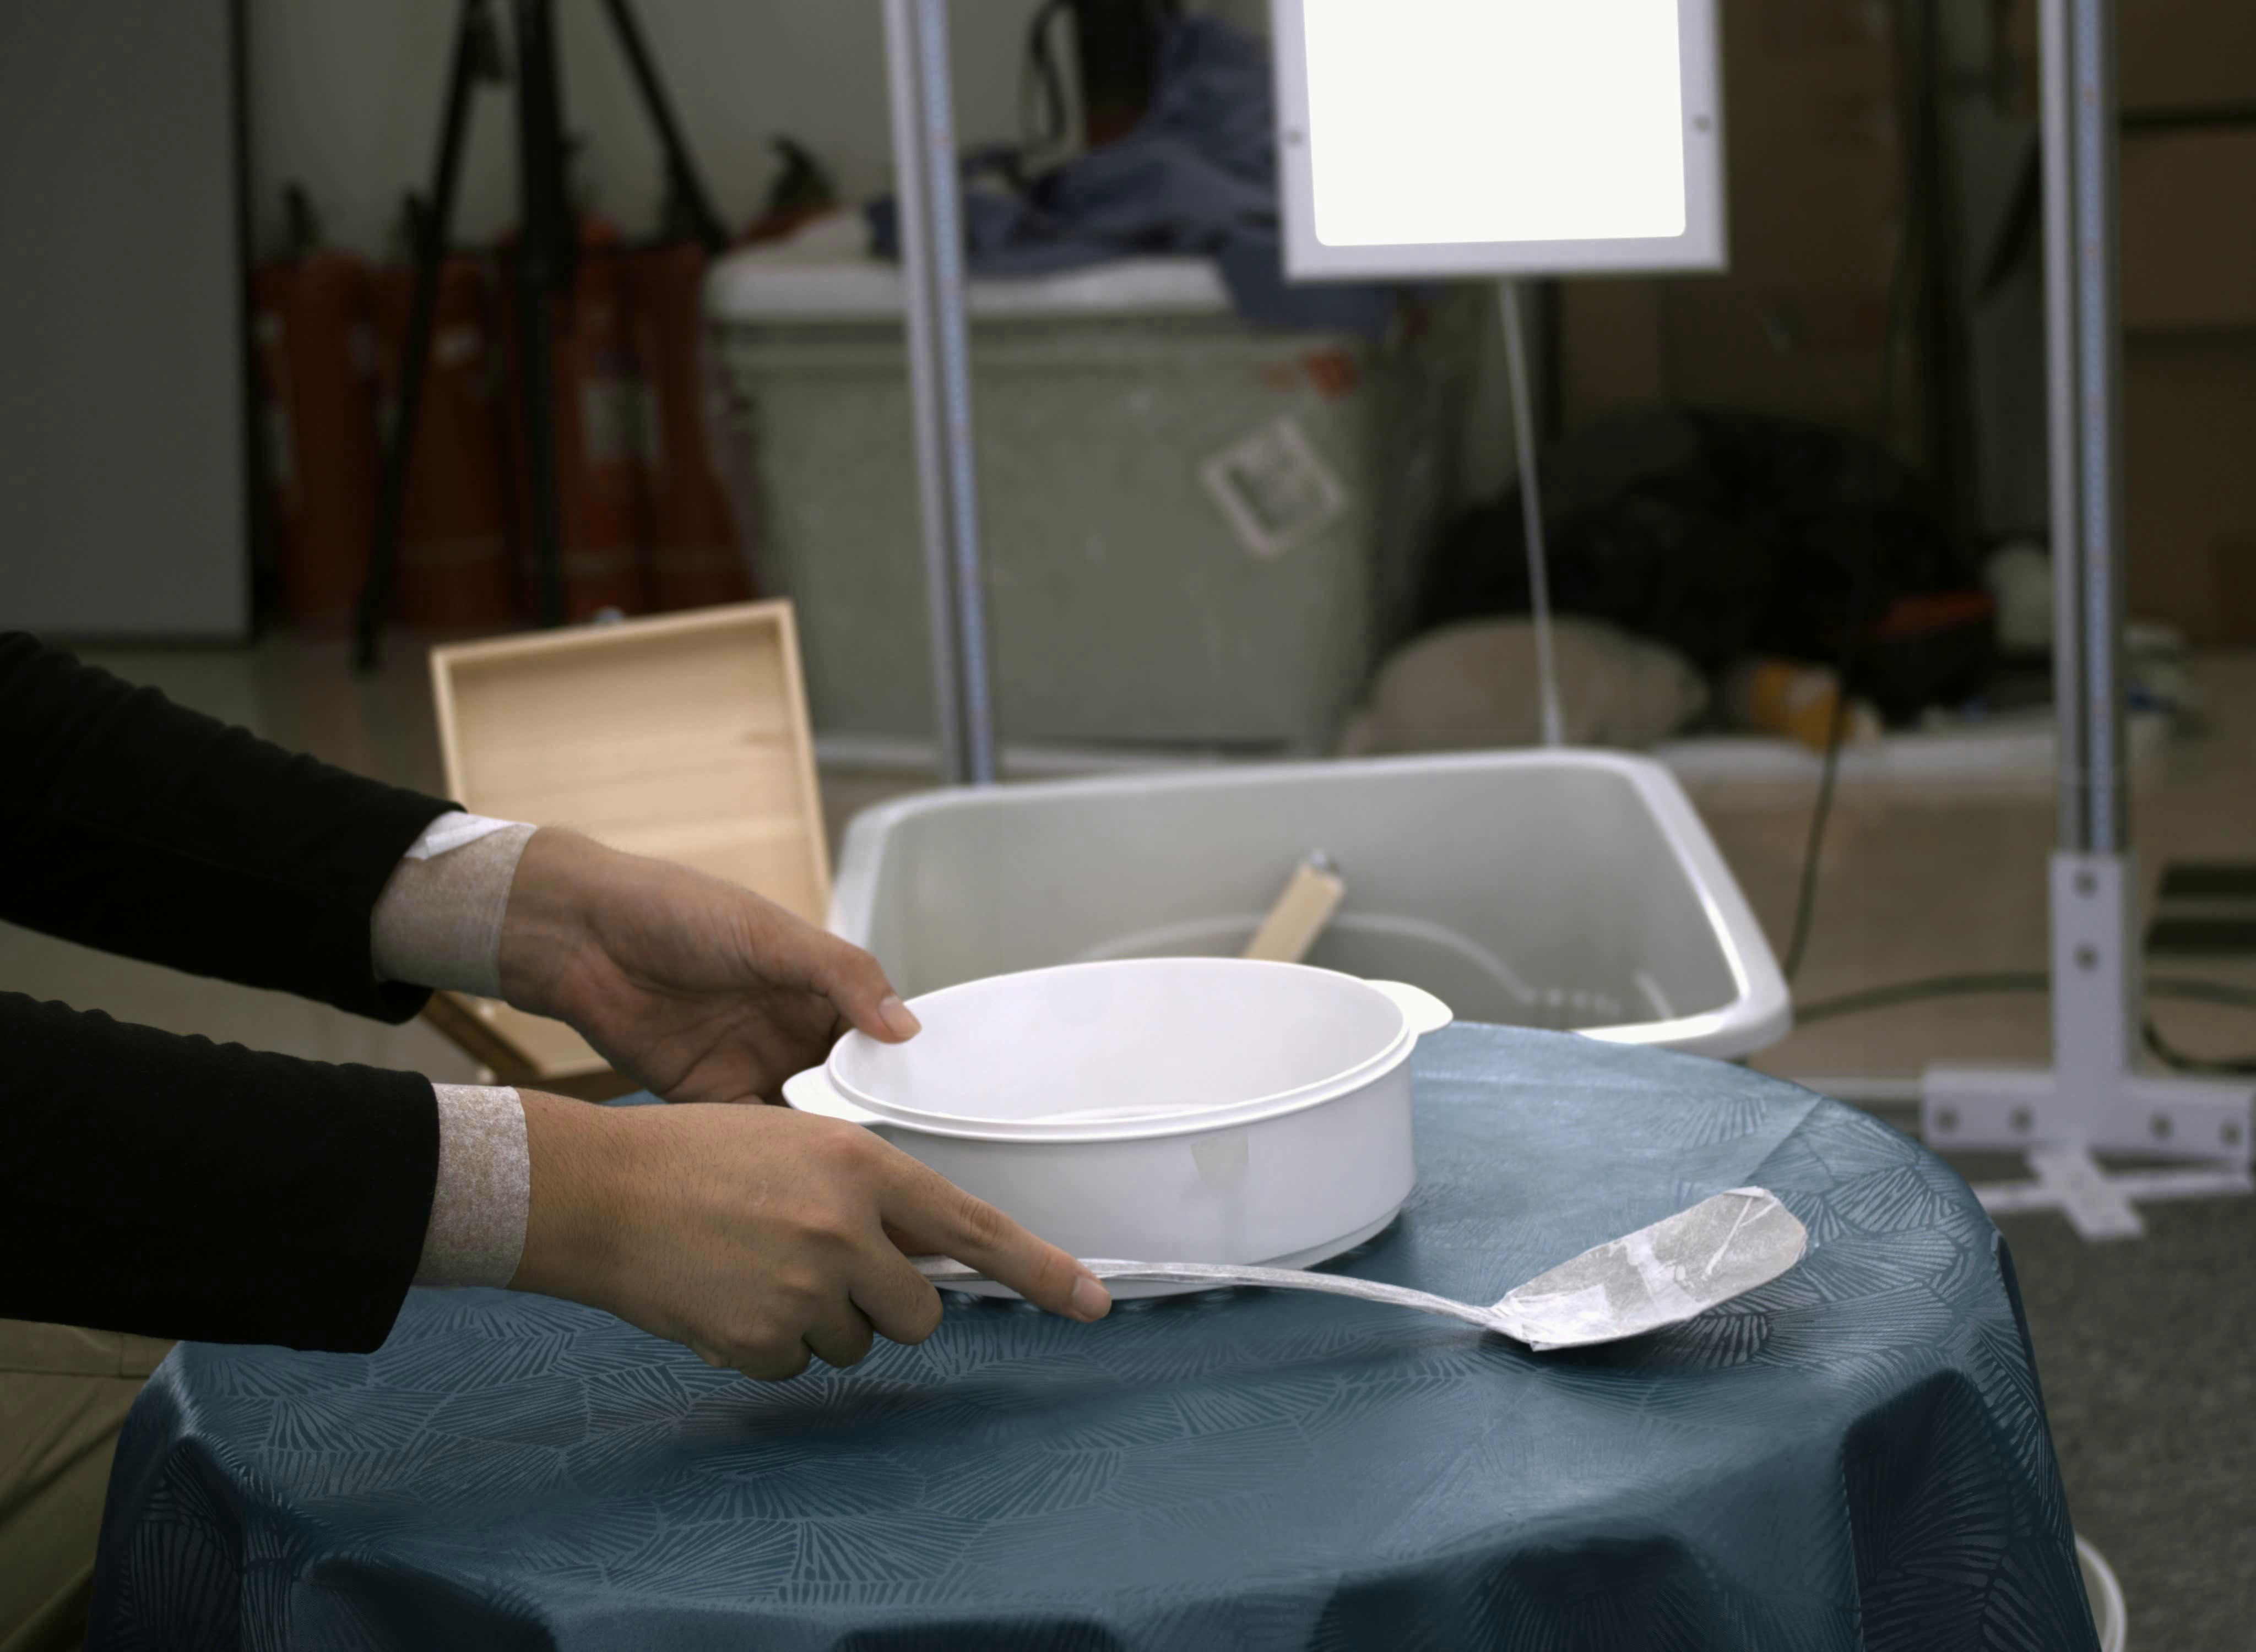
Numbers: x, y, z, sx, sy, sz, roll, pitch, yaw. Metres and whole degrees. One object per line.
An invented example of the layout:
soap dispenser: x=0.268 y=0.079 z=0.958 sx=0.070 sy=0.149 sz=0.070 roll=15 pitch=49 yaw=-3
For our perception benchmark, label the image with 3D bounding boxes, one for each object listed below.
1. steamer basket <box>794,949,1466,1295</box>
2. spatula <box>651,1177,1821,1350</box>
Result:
steamer basket: x=0.004 y=0.100 z=1.855 sx=0.227 sy=0.069 sz=0.204 roll=-9 pitch=14 yaw=-14
spatula: x=0.033 y=0.135 z=1.714 sx=0.363 sy=0.045 sz=0.098 roll=3 pitch=15 yaw=-1
